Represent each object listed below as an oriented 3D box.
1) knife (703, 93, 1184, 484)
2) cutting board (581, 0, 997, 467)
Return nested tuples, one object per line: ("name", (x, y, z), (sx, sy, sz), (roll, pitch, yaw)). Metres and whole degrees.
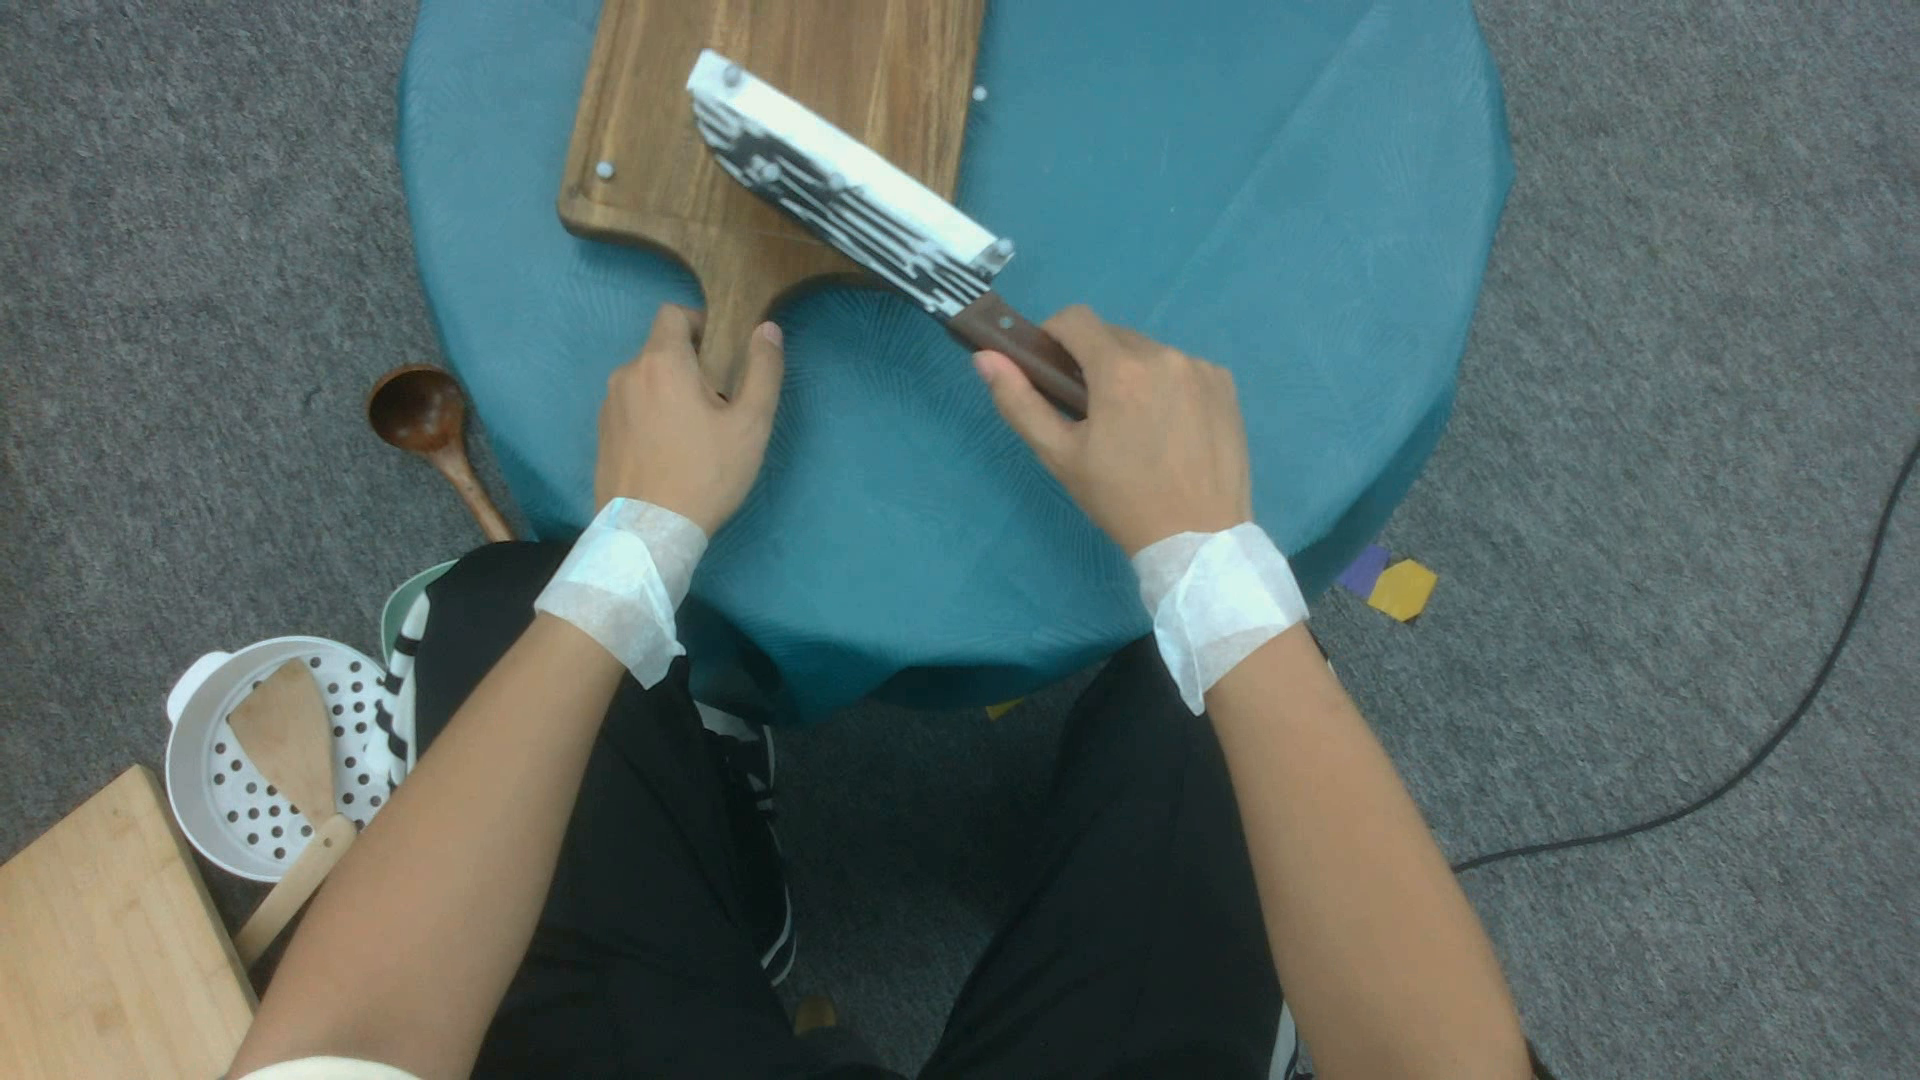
("knife", (-0.010, -0.127, 0.668), (0.299, 0.024, 0.068), (34, 53, 4))
("cutting board", (-0.092, -0.209, 0.741), (0.201, 0.023, 0.353), (9, 76, -1))
